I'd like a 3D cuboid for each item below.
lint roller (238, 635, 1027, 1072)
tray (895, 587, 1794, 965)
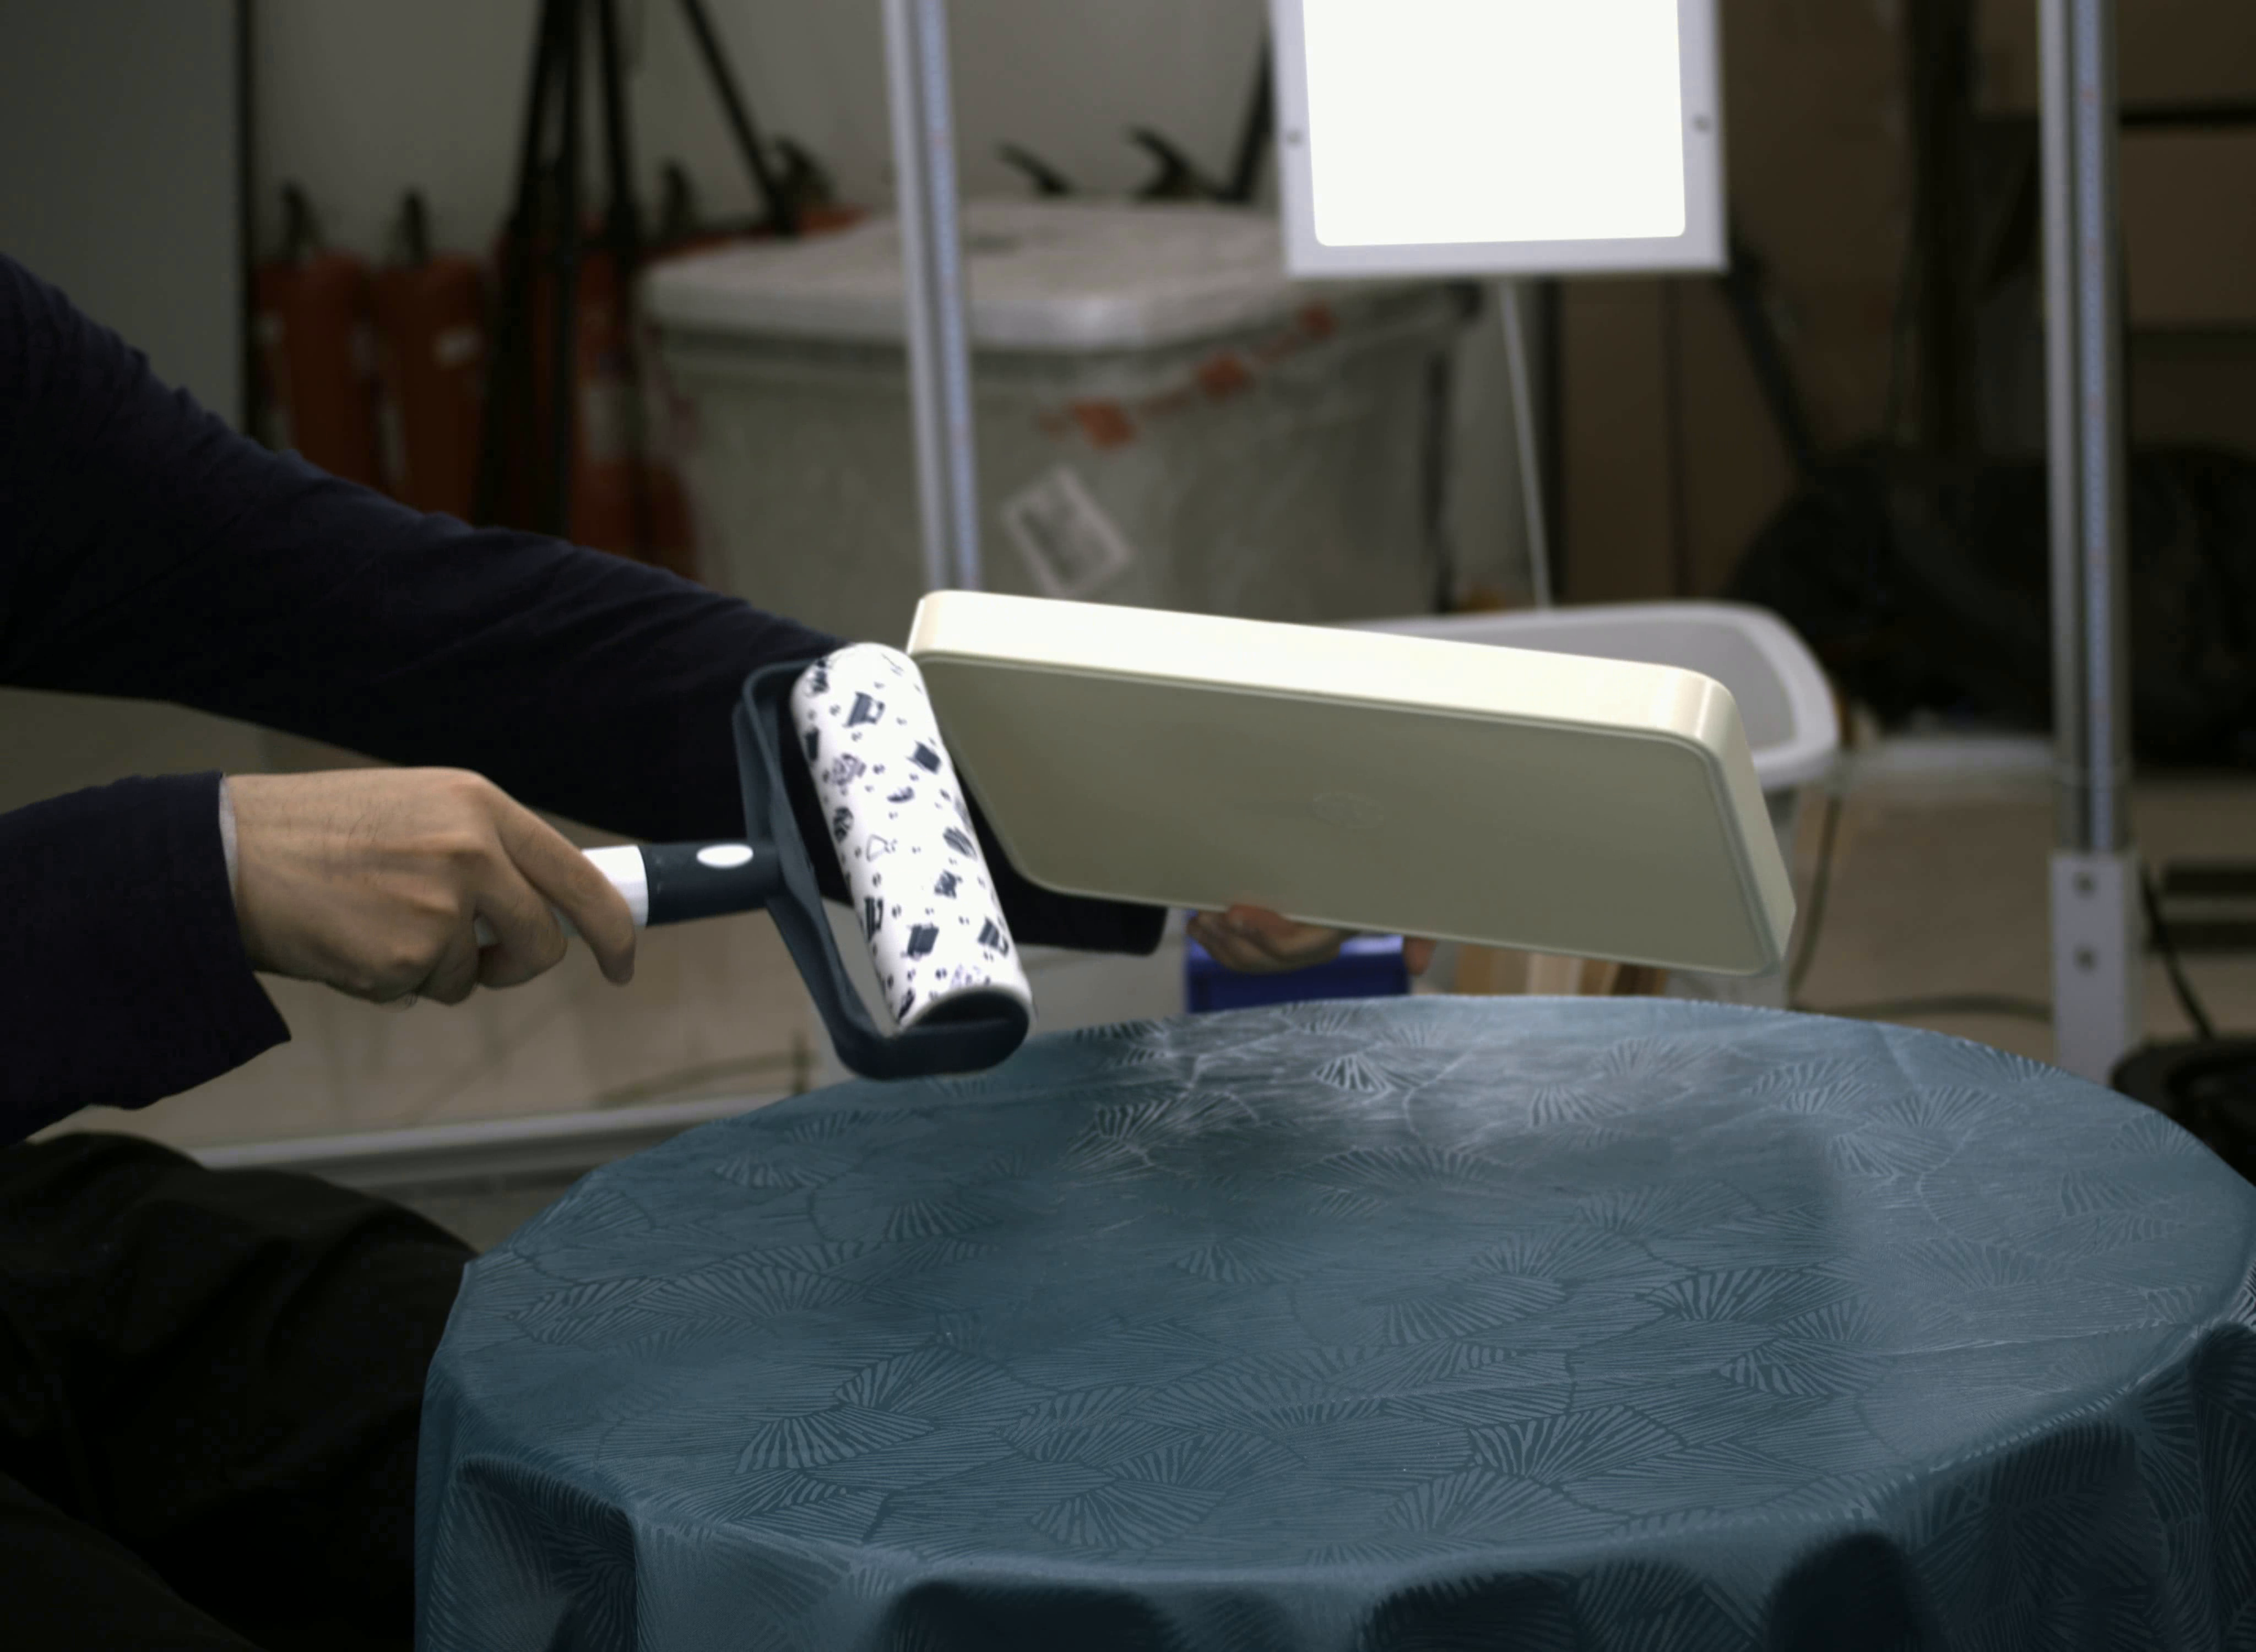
[{"bbox_3d":[-0.170,0.019,1.820,0.243,0.051,0.177,-7,48,-16],"label":"lint roller"},{"bbox_3d":[0.079,-0.016,1.964,0.304,0.027,0.190,7,-24,22],"label":"tray"}]
